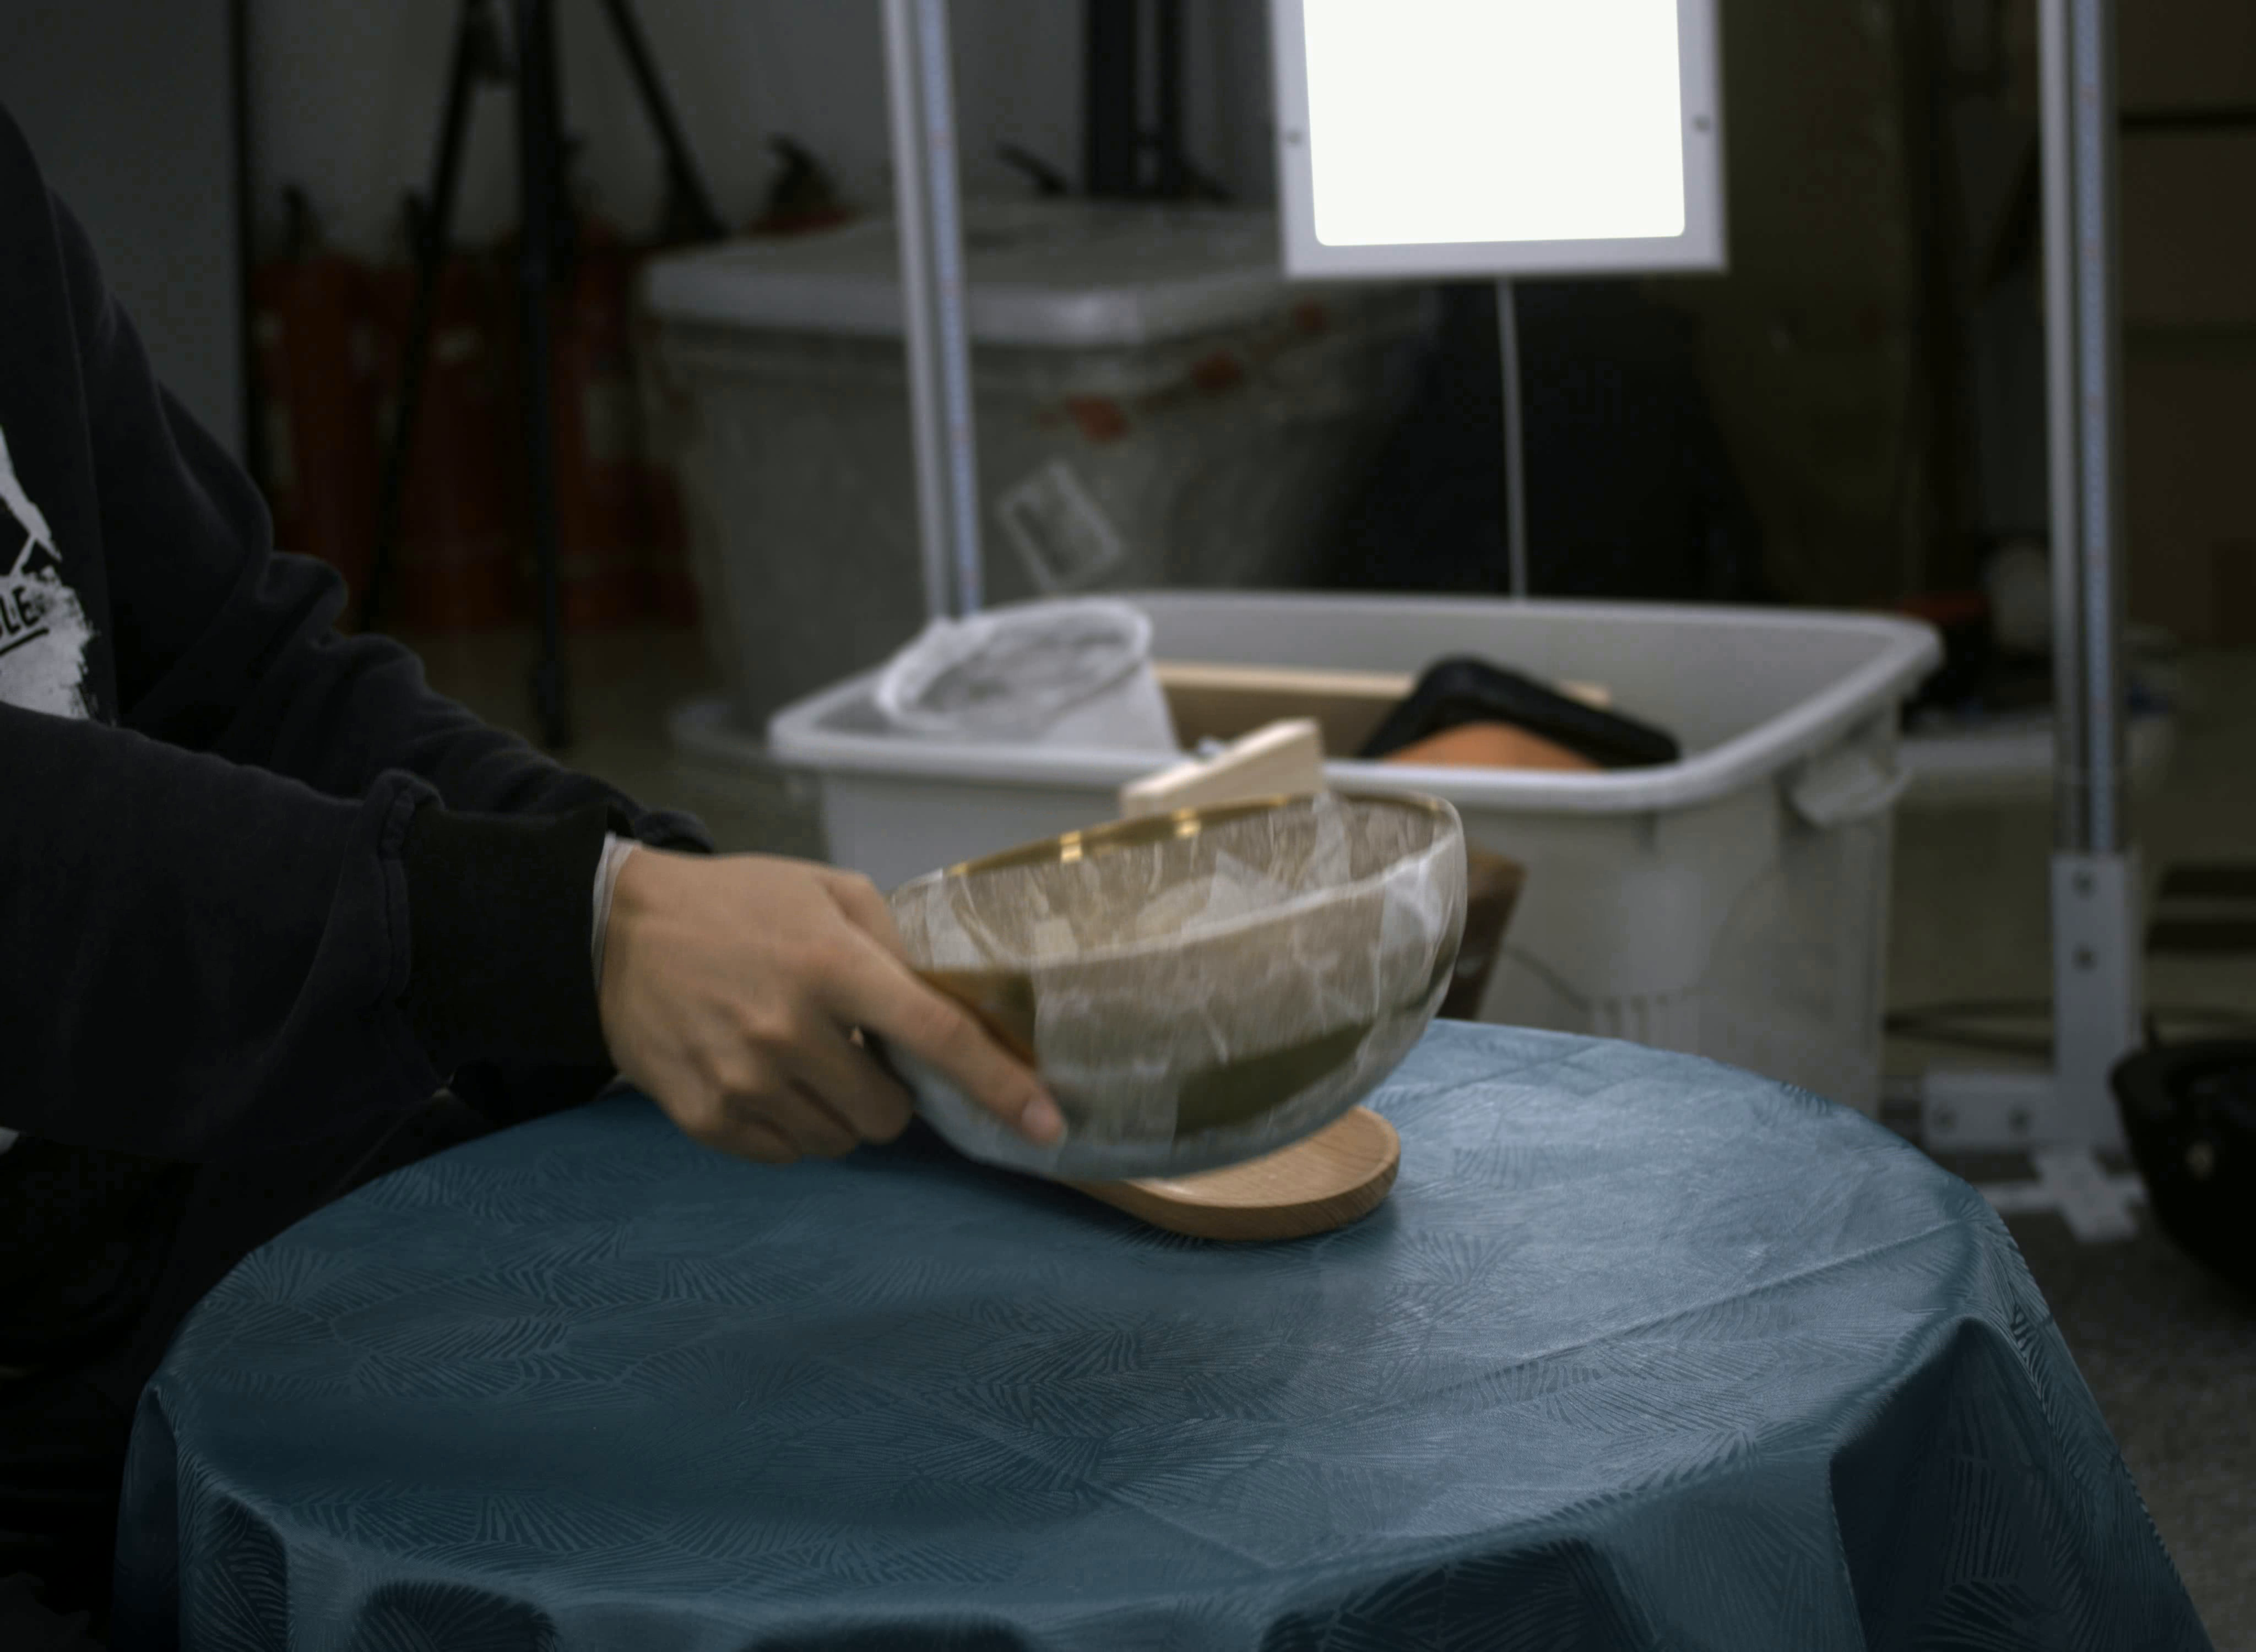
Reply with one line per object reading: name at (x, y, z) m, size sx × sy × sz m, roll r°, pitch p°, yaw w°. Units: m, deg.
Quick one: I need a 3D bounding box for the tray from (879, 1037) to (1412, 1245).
tray at (0.004, 0.100, 1.921) m, size 0.099 × 0.020 × 0.235 m, roll -21°, pitch 28°, yaw -35°

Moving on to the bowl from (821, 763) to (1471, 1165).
bowl at (0.014, 0.050, 1.717) m, size 0.214 × 0.095 × 0.214 m, roll -12°, pitch 11°, yaw 1°
